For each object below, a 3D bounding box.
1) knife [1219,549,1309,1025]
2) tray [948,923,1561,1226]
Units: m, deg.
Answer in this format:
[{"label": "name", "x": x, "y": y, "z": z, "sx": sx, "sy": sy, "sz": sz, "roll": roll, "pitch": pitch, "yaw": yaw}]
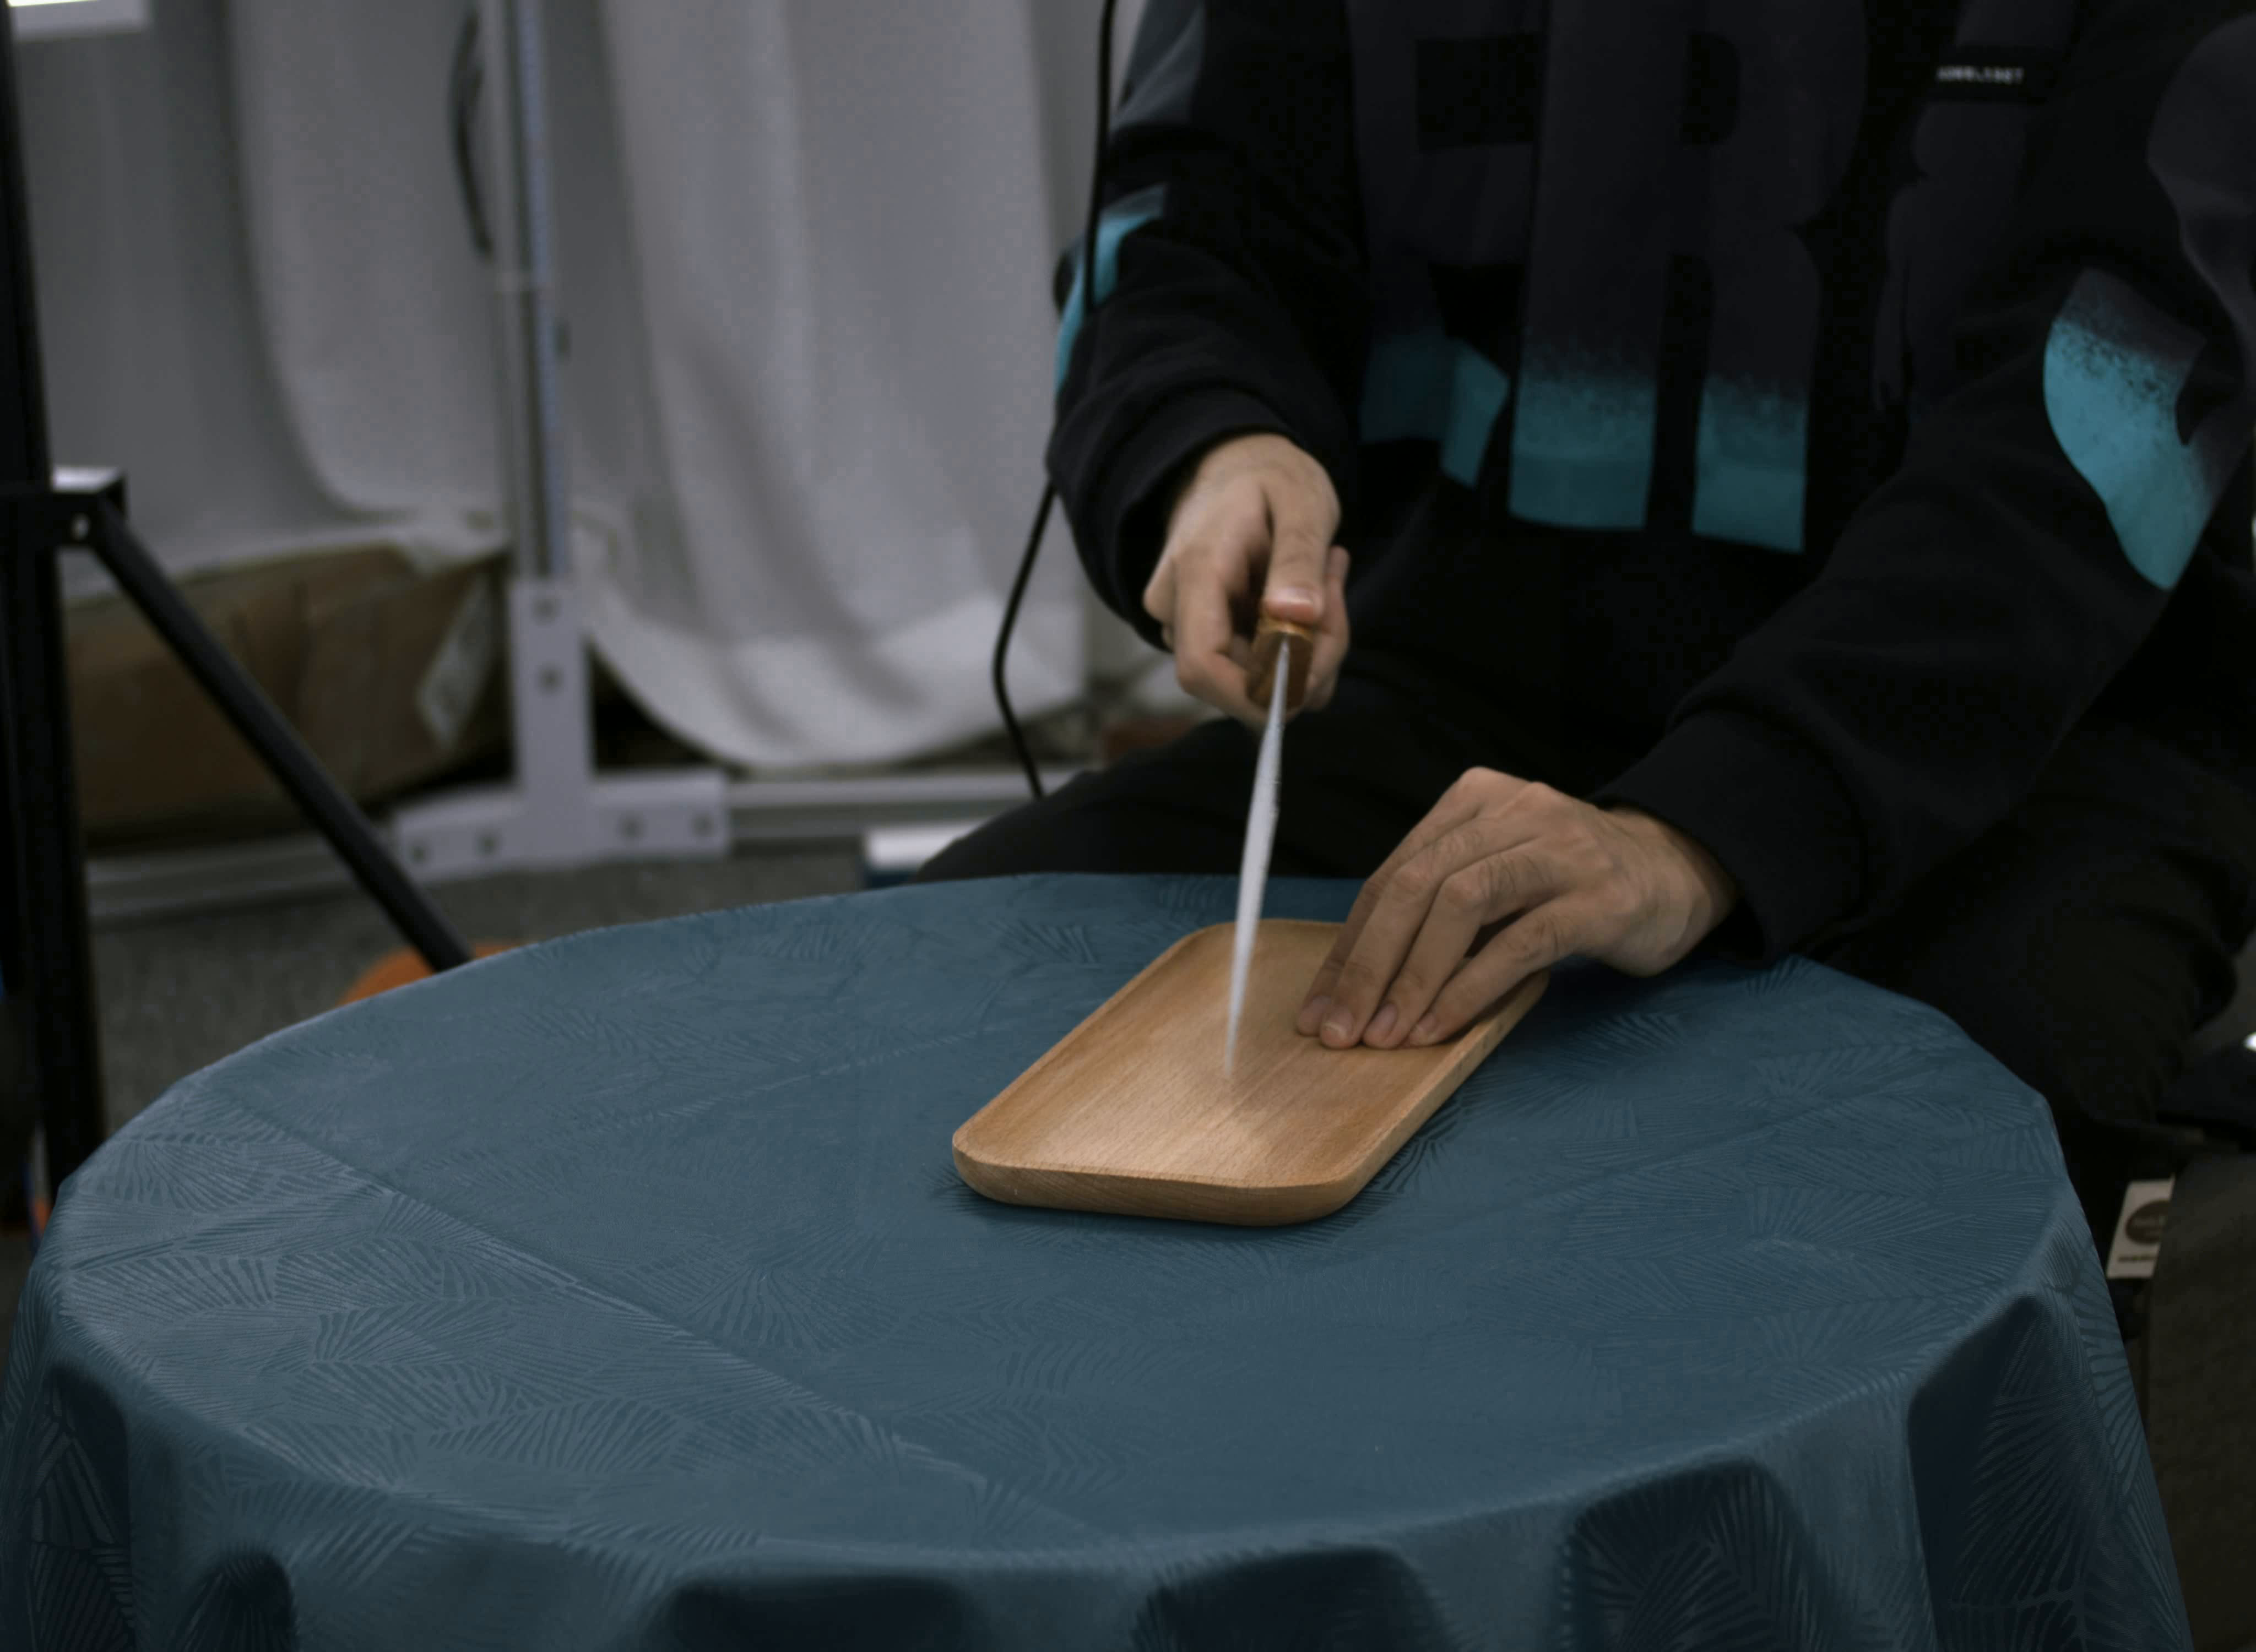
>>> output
[{"label": "knife", "x": 0.042, "y": -0.014, "z": 1.726, "sx": 0.021, "sy": 0.093, "sz": 0.306, "roll": 10, "pitch": 19, "yaw": 0}, {"label": "tray", "x": 0.043, "y": 0.074, "z": 1.640, "sx": 0.132, "sy": 0.023, "sz": 0.247, "roll": 6, "pitch": 17, "yaw": 22}]
